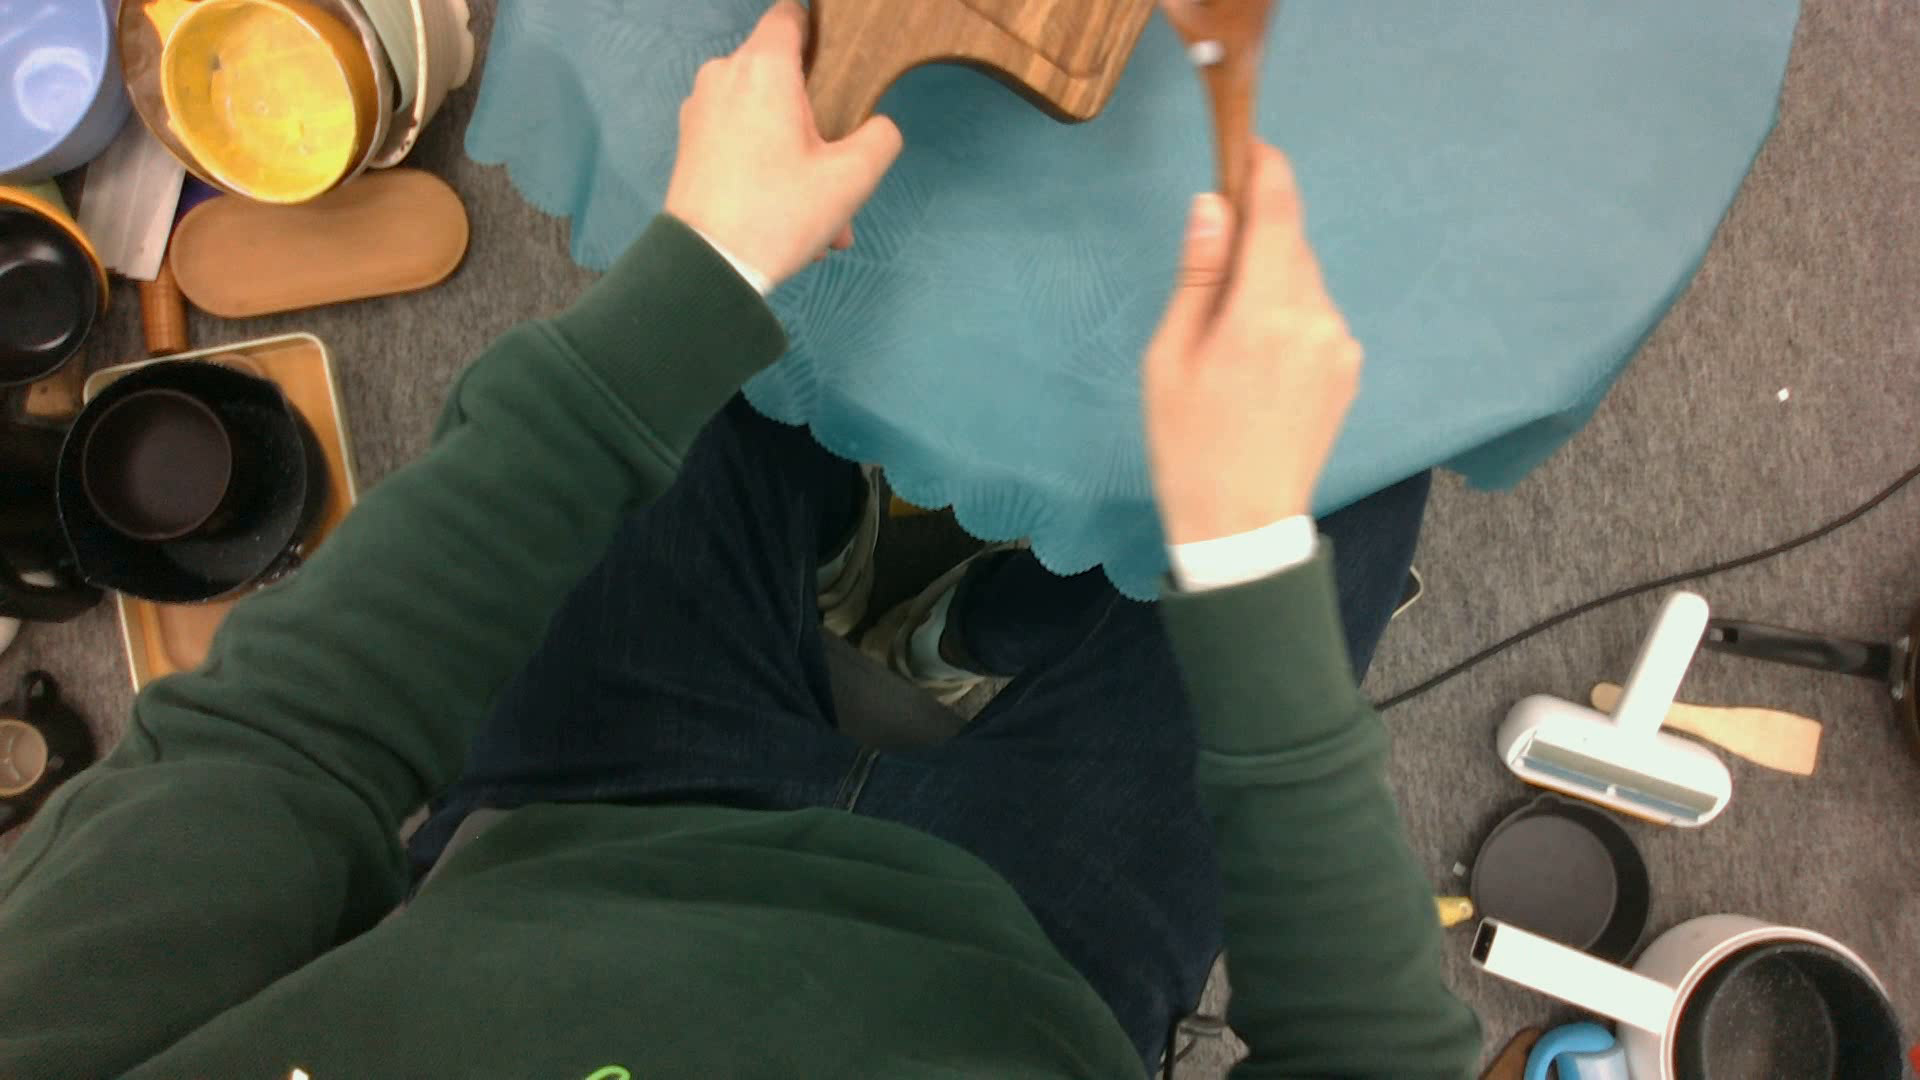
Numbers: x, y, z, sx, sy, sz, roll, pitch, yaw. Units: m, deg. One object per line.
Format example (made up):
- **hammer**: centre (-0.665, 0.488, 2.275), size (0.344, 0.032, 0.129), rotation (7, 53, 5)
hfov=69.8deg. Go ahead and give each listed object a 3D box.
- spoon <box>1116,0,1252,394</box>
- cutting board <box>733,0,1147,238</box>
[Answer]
- **spoon**: centre (0.081, -0.158, 0.475), size (0.017, 0.075, 0.215), rotation (-13, 101, -32)
- **cutting board**: centre (0.001, -0.277, 0.524), size (0.201, 0.023, 0.352), rotation (26, 92, -26)
